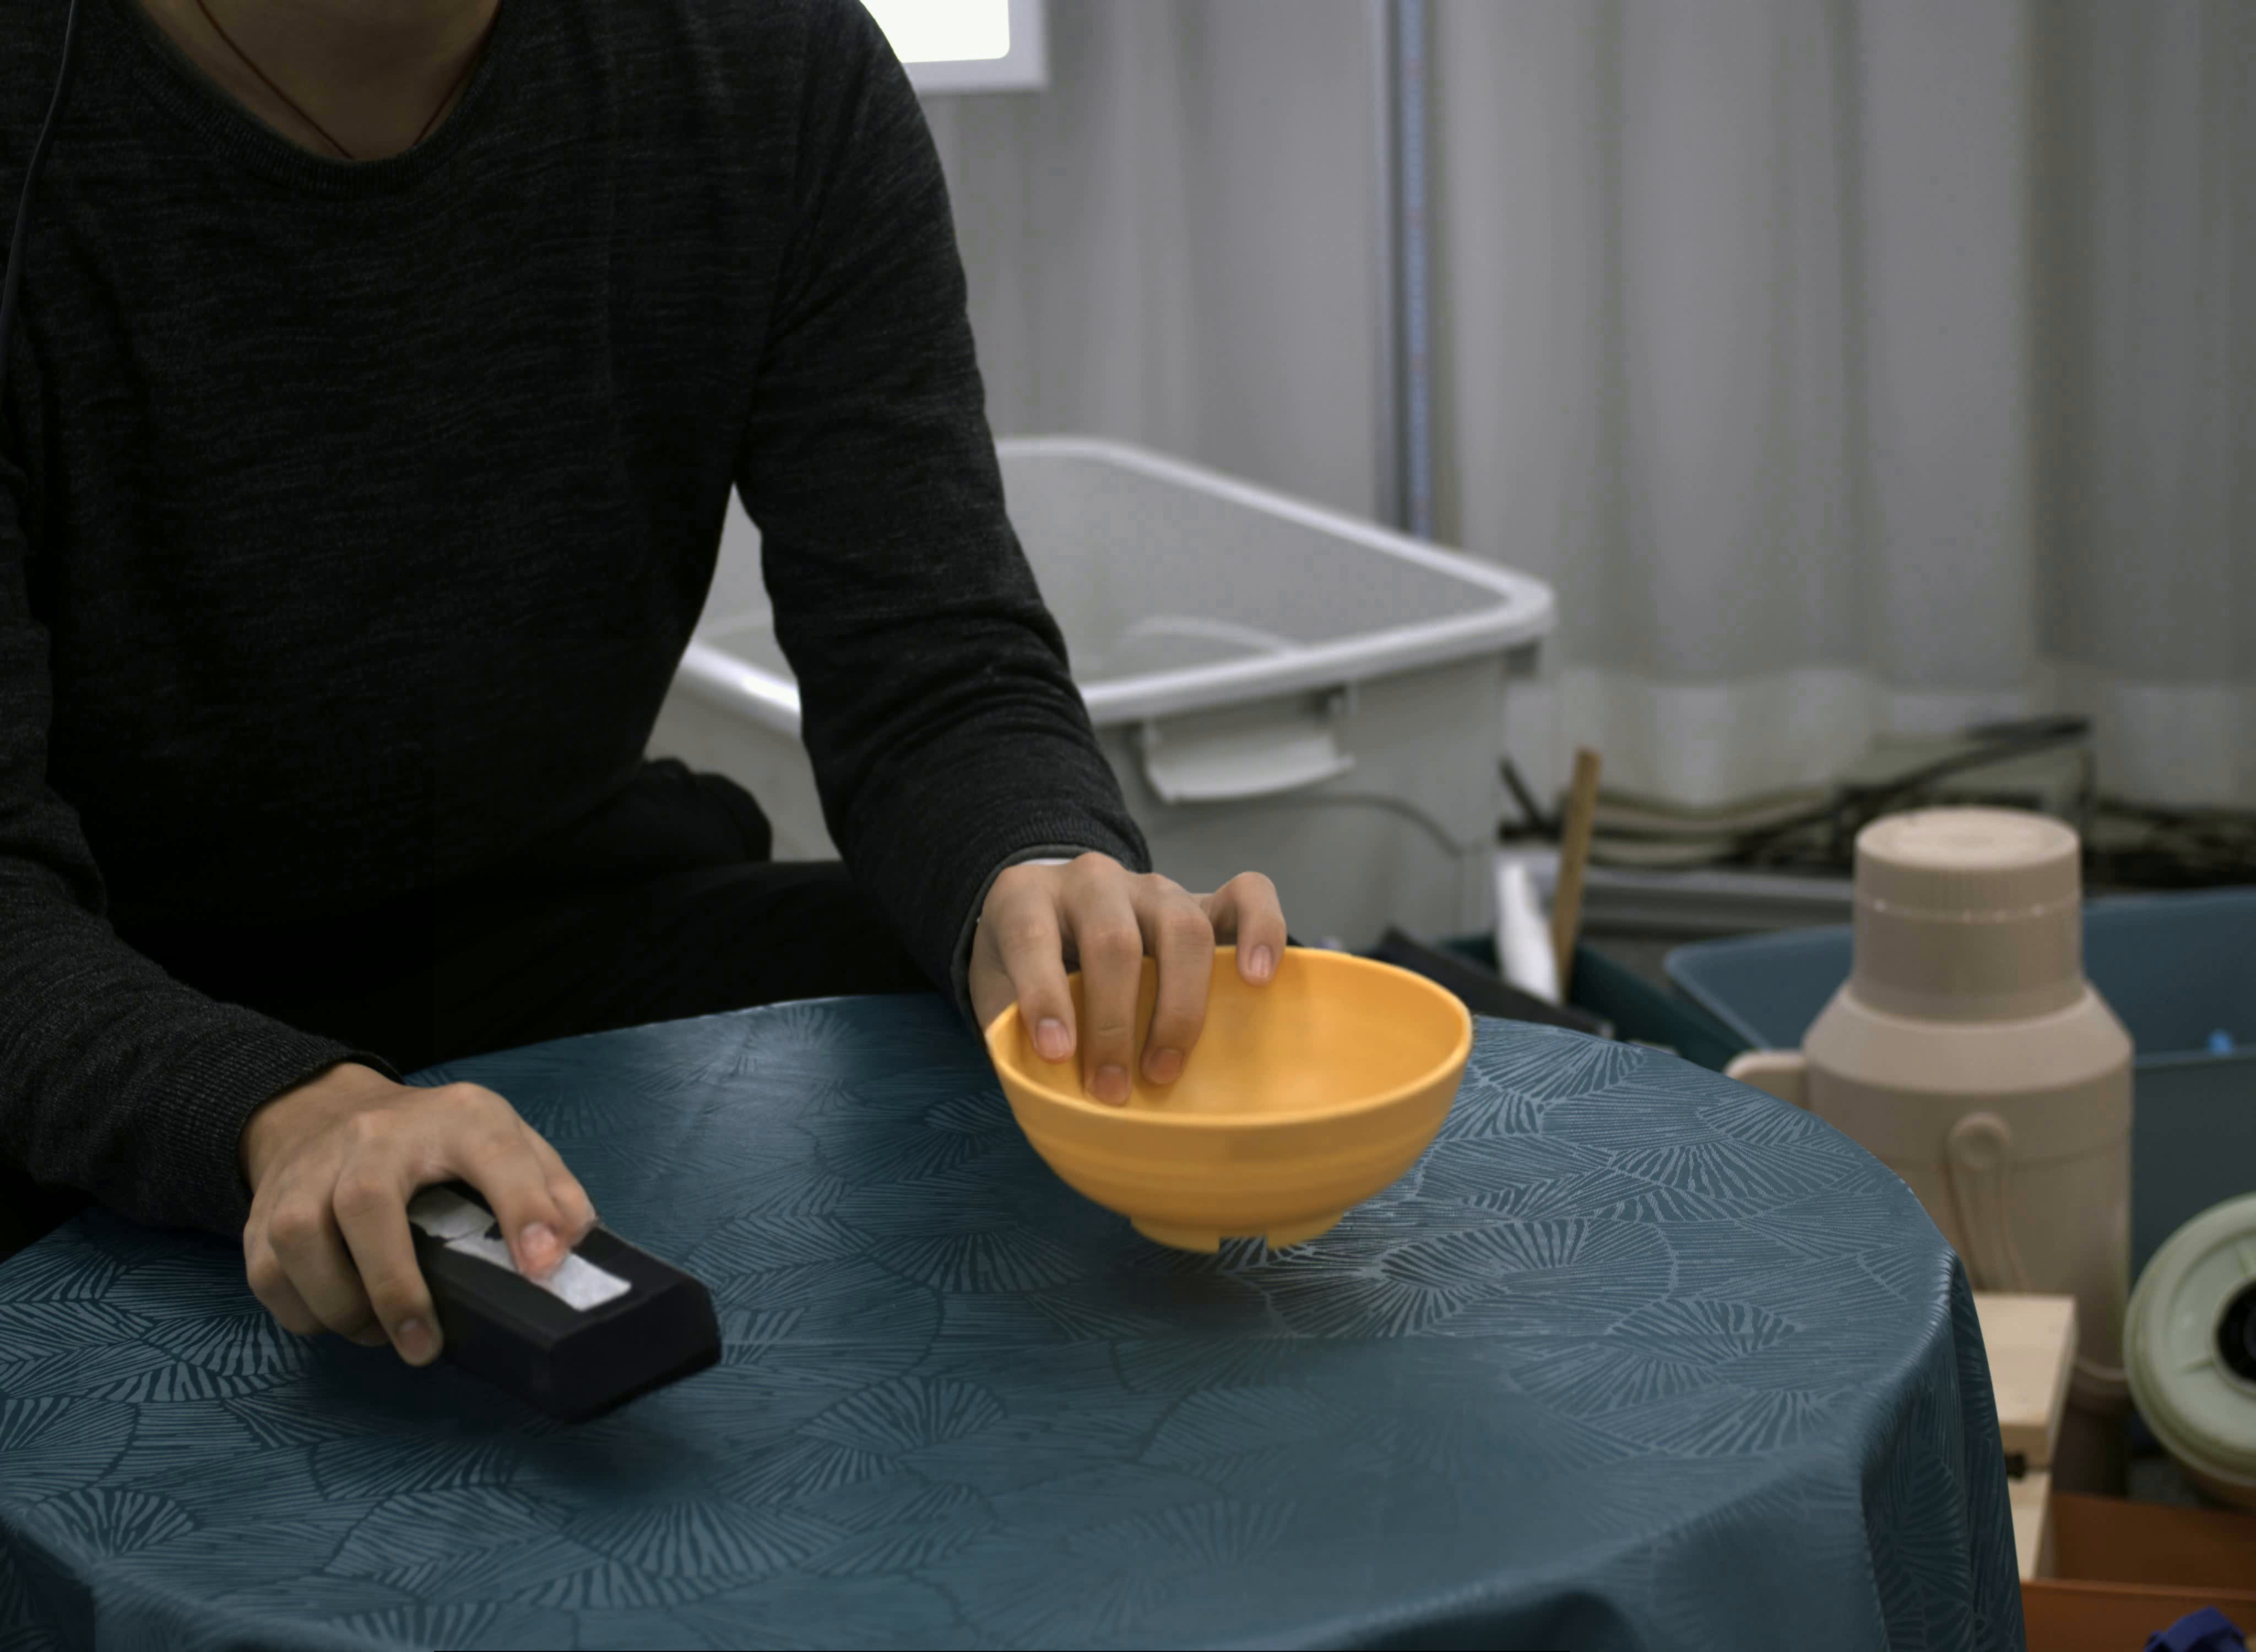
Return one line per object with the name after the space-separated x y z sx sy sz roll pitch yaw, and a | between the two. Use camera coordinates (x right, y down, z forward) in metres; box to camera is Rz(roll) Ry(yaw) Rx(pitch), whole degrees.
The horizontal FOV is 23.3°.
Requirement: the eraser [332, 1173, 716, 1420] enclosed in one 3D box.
-0.169 0.131 1.533 0.053 0.030 0.126 -21 23 -32 | eraser

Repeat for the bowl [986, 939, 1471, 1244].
0.030 0.085 1.633 0.145 0.060 0.146 0 18 0 | bowl
